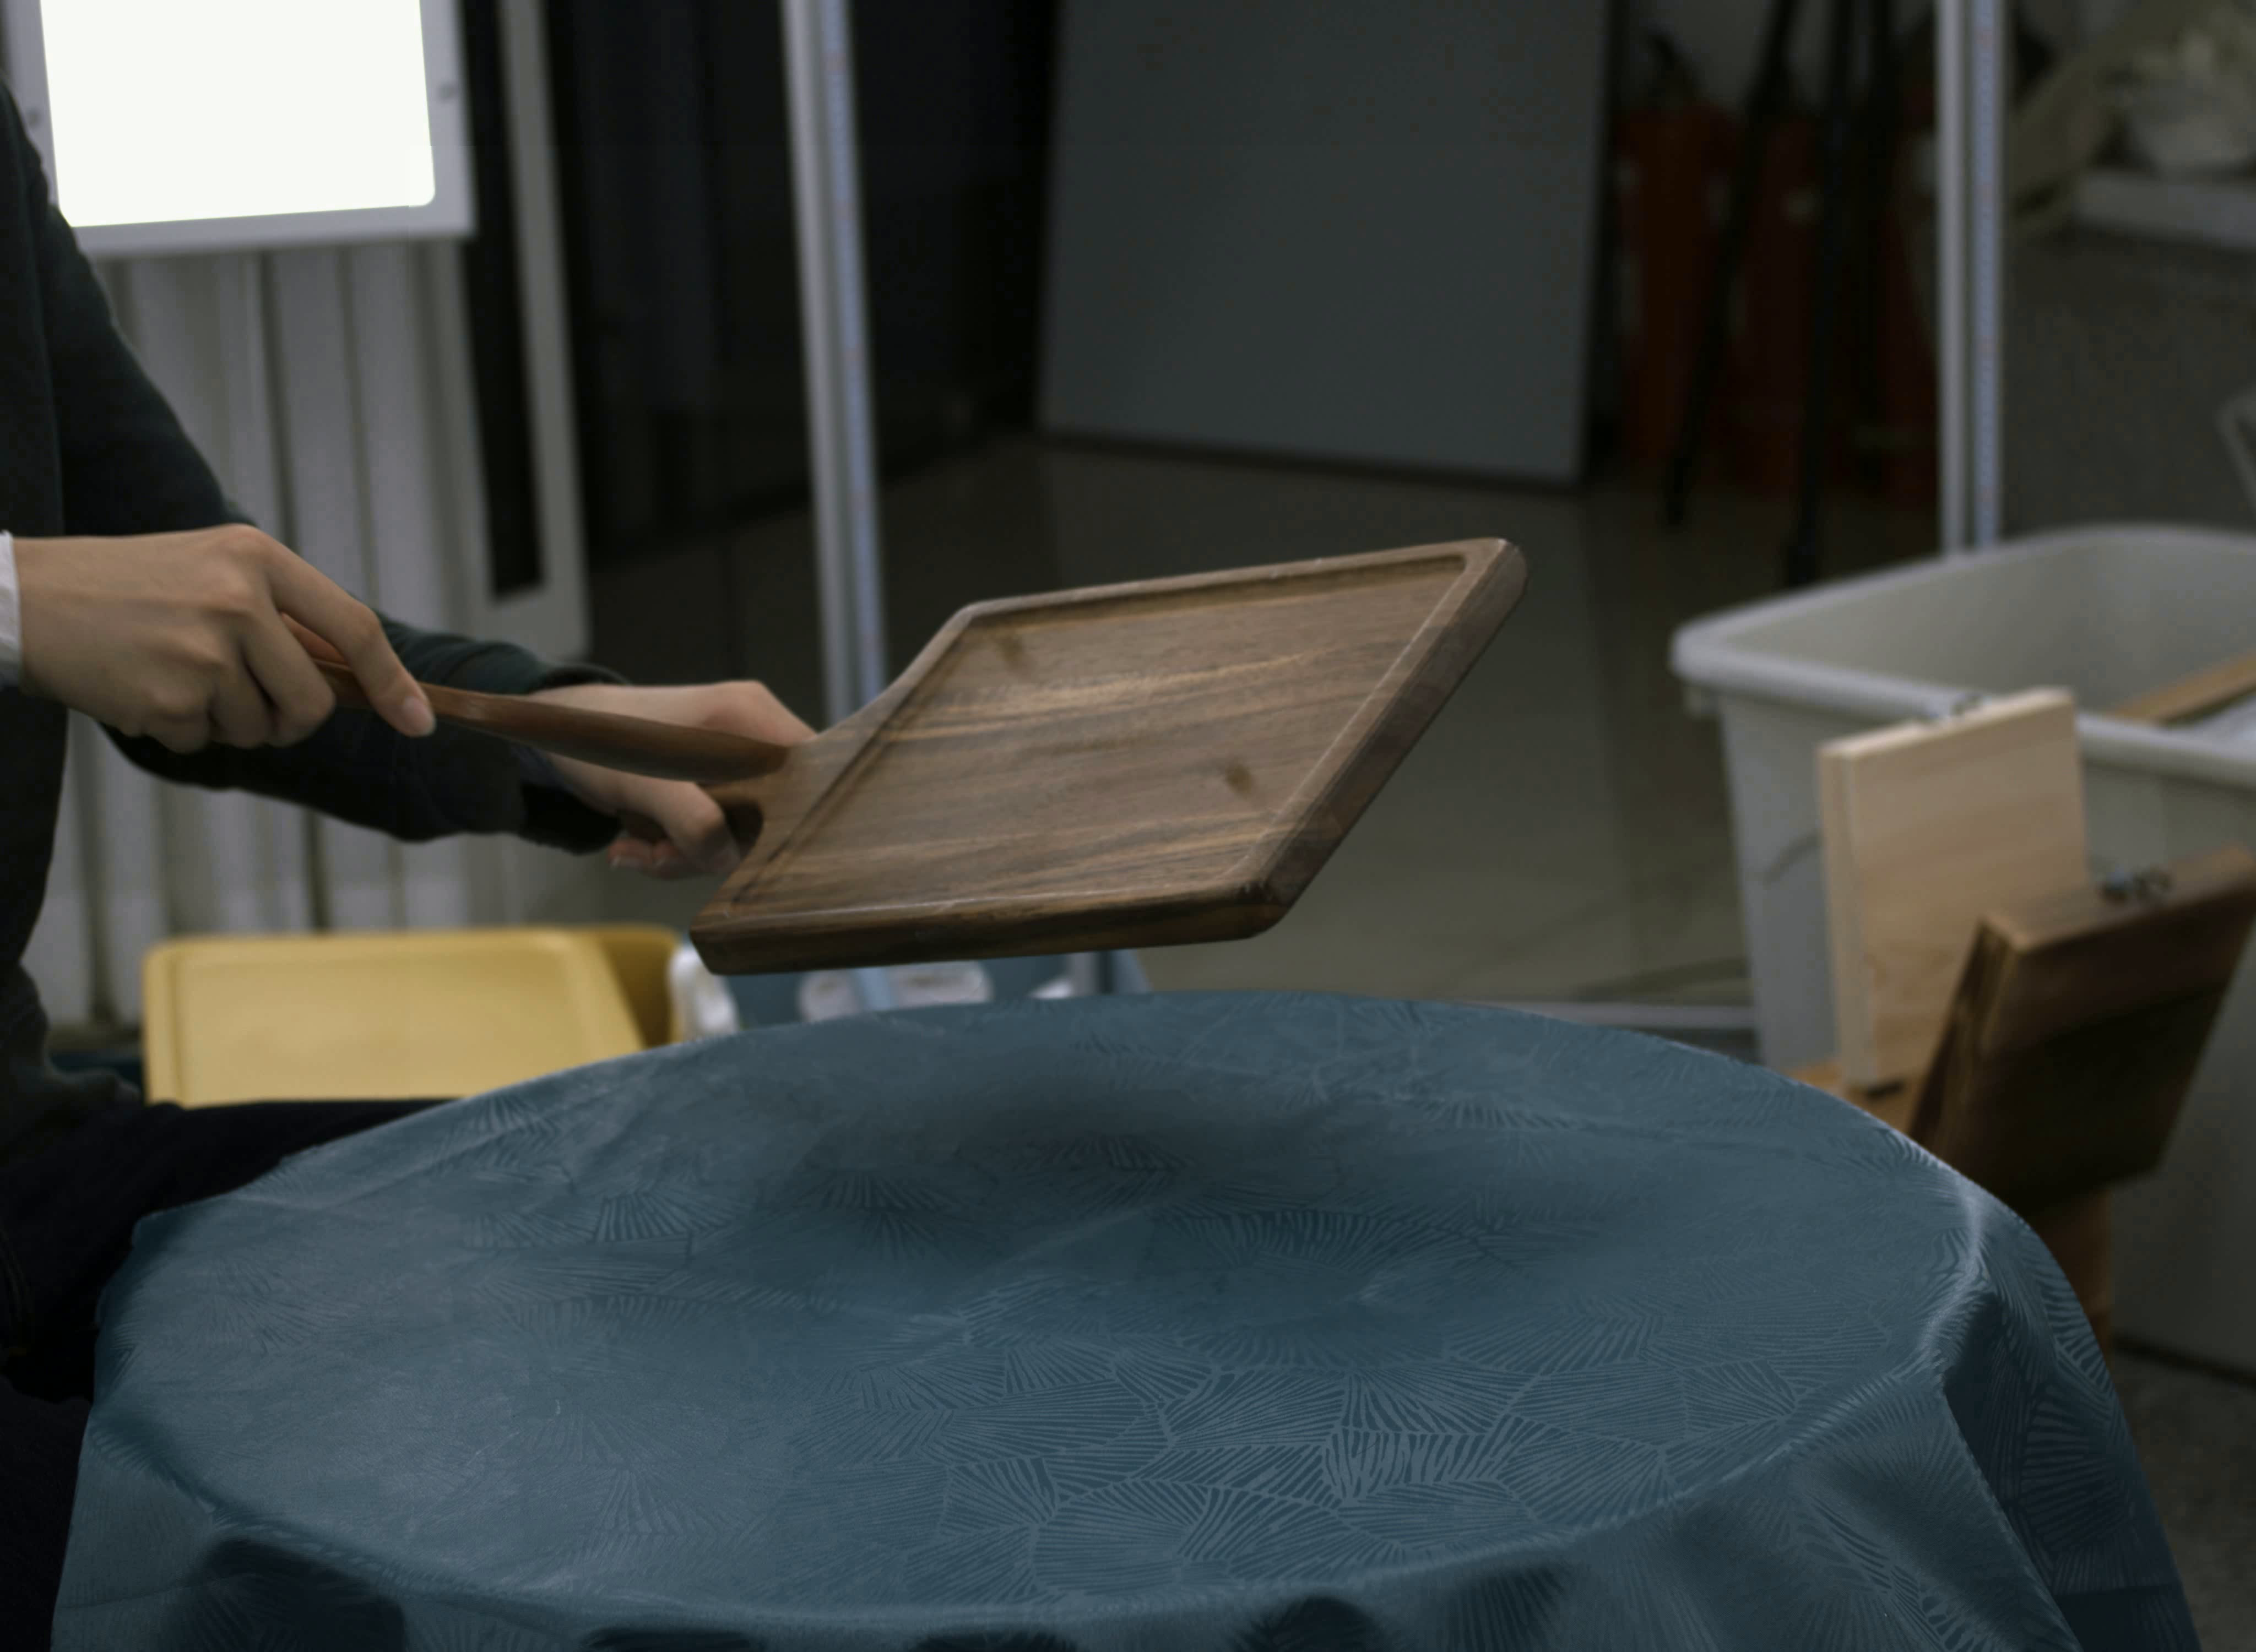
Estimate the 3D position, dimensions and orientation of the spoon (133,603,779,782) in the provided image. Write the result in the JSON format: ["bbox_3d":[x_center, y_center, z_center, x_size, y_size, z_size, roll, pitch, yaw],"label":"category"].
[{"bbox_3d":[-0.212,-0.039,1.726,0.211,0.017,0.076,13,-3,-23],"label":"spoon"}]

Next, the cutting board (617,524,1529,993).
[{"bbox_3d":[-0.043,-0.018,1.830,0.355,0.023,0.200,-7,35,41],"label":"cutting board"}]
